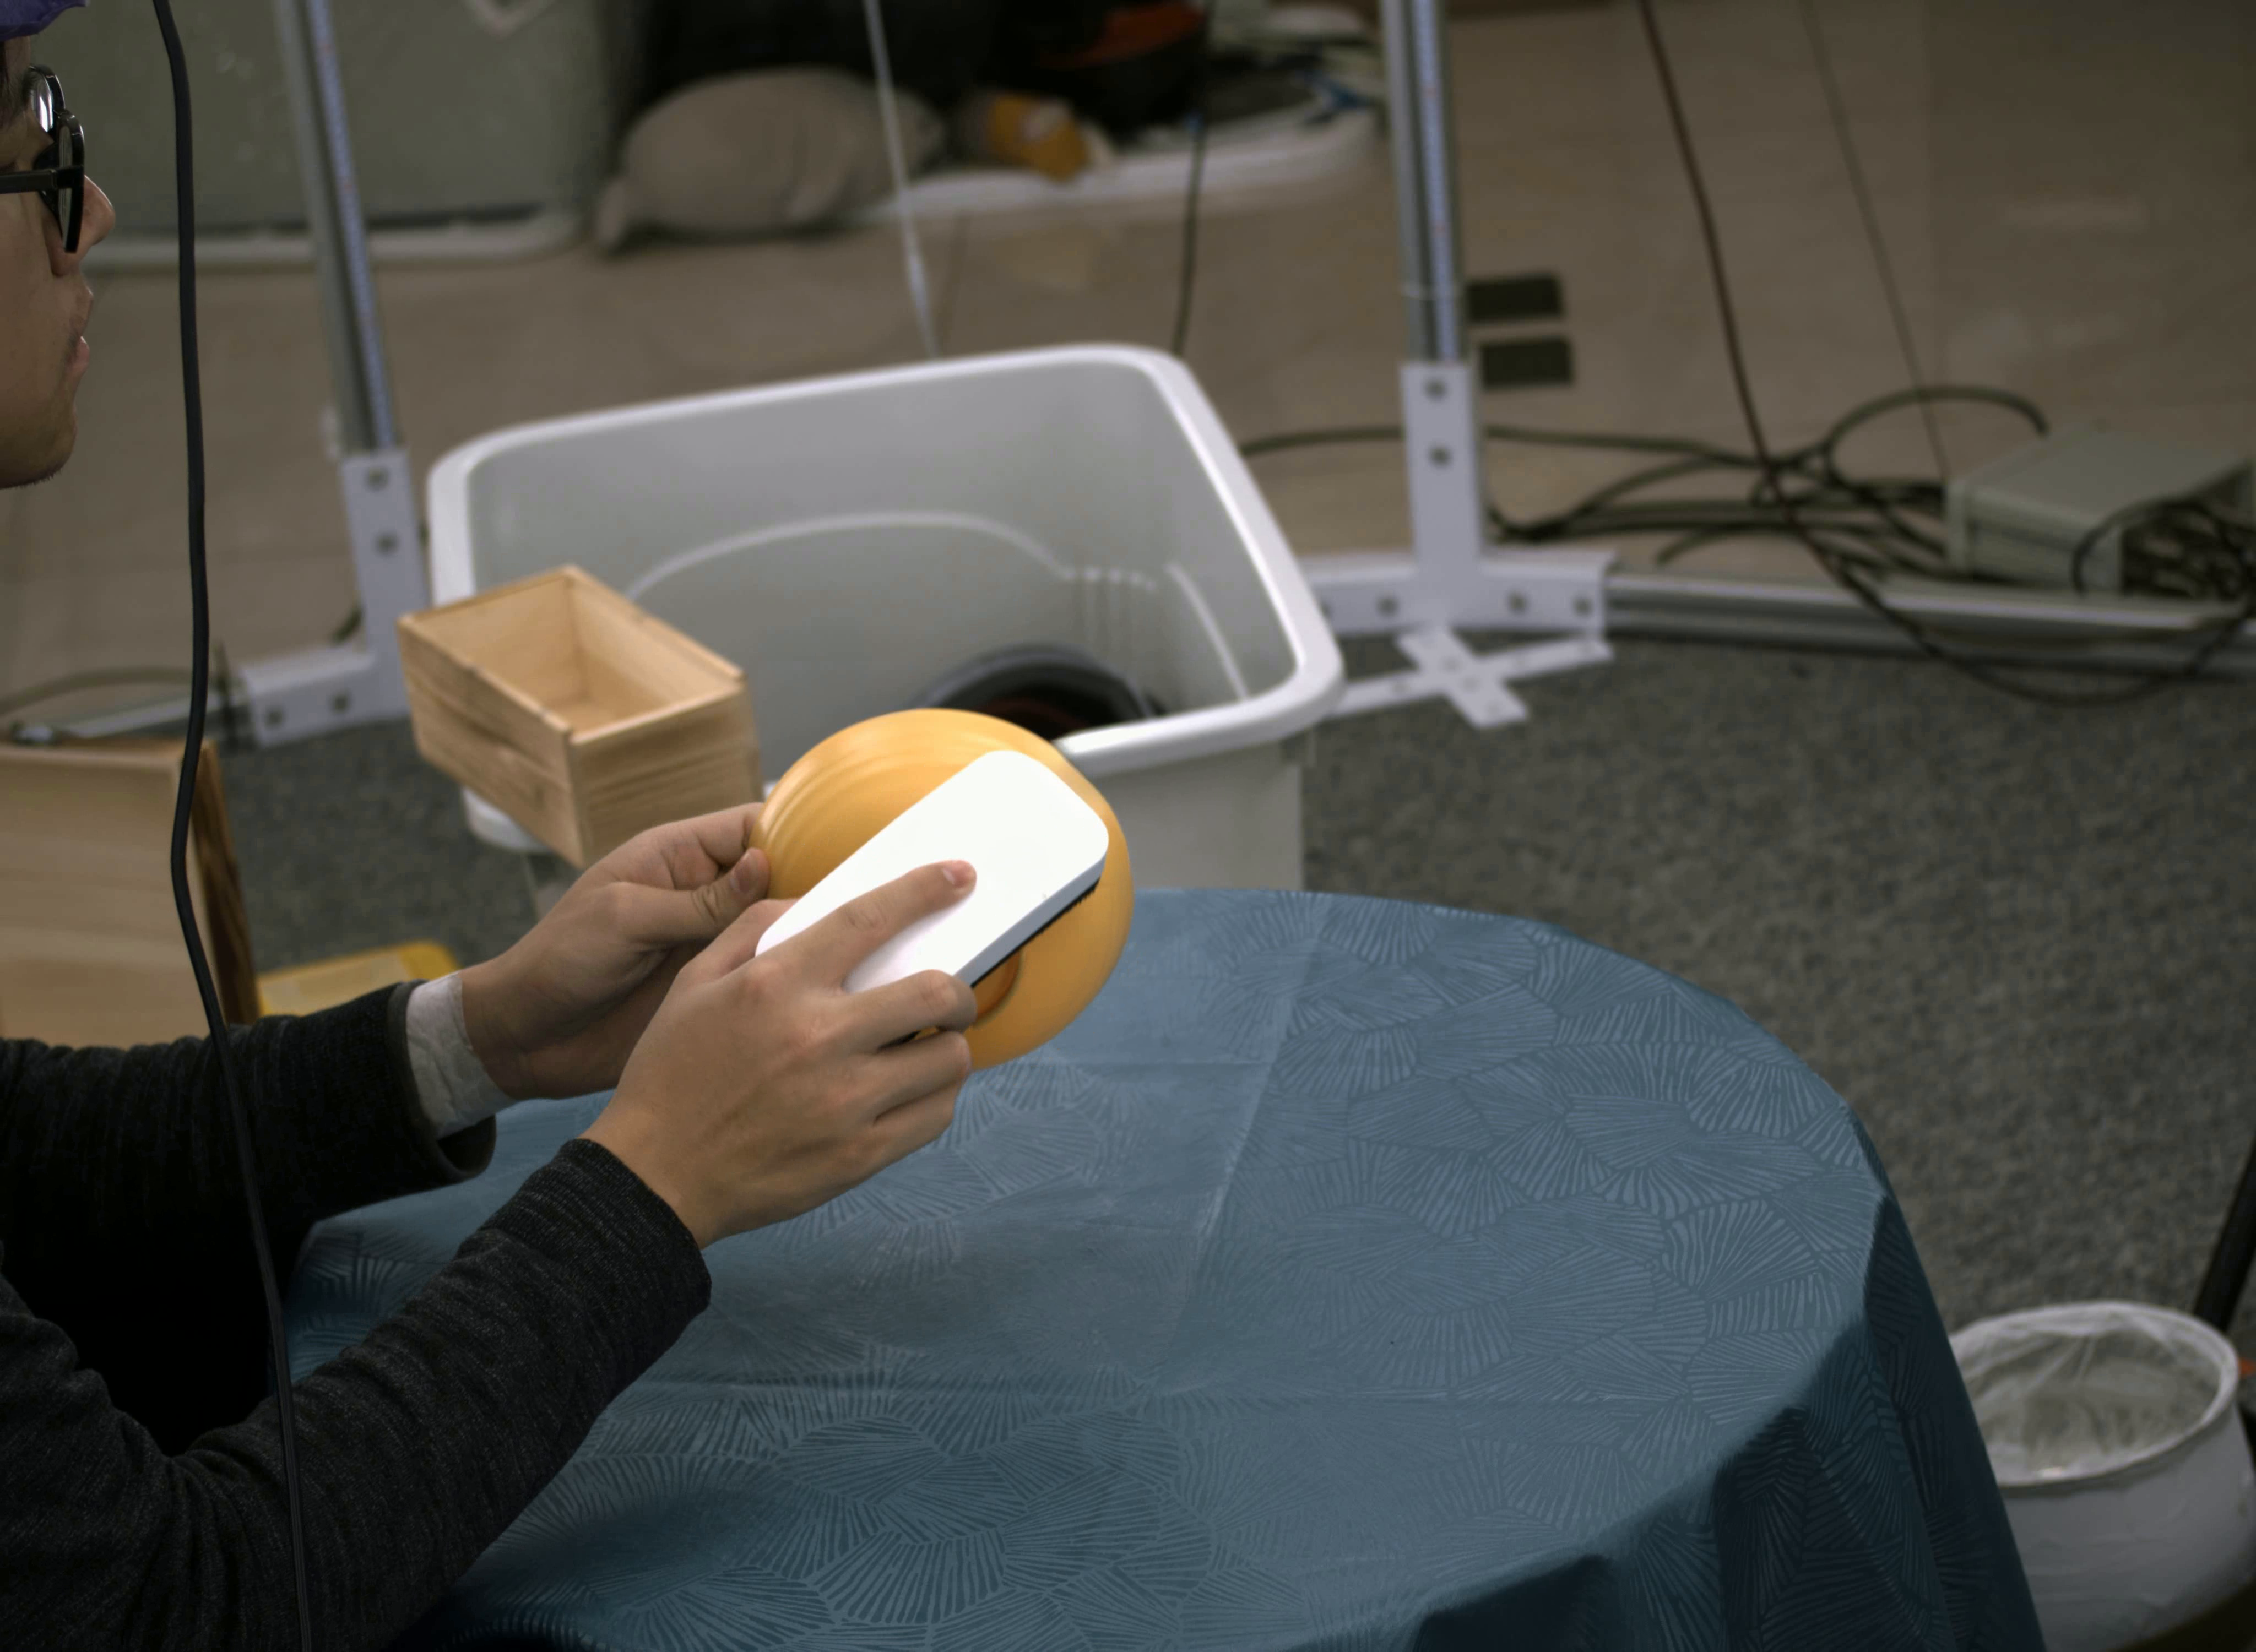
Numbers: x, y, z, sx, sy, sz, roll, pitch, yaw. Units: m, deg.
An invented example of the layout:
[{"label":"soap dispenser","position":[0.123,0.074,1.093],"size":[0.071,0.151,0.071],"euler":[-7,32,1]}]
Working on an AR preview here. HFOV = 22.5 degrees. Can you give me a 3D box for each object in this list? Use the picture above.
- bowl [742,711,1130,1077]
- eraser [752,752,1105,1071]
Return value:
[{"label":"bowl","position":[-0.072,0.035,2.064],"size":[0.145,0.147,0.059],"euler":[-4,26,4]},{"label":"eraser","position":[-0.070,0.028,1.995],"size":[0.130,0.035,0.063],"euler":[-39,67,-21]}]
